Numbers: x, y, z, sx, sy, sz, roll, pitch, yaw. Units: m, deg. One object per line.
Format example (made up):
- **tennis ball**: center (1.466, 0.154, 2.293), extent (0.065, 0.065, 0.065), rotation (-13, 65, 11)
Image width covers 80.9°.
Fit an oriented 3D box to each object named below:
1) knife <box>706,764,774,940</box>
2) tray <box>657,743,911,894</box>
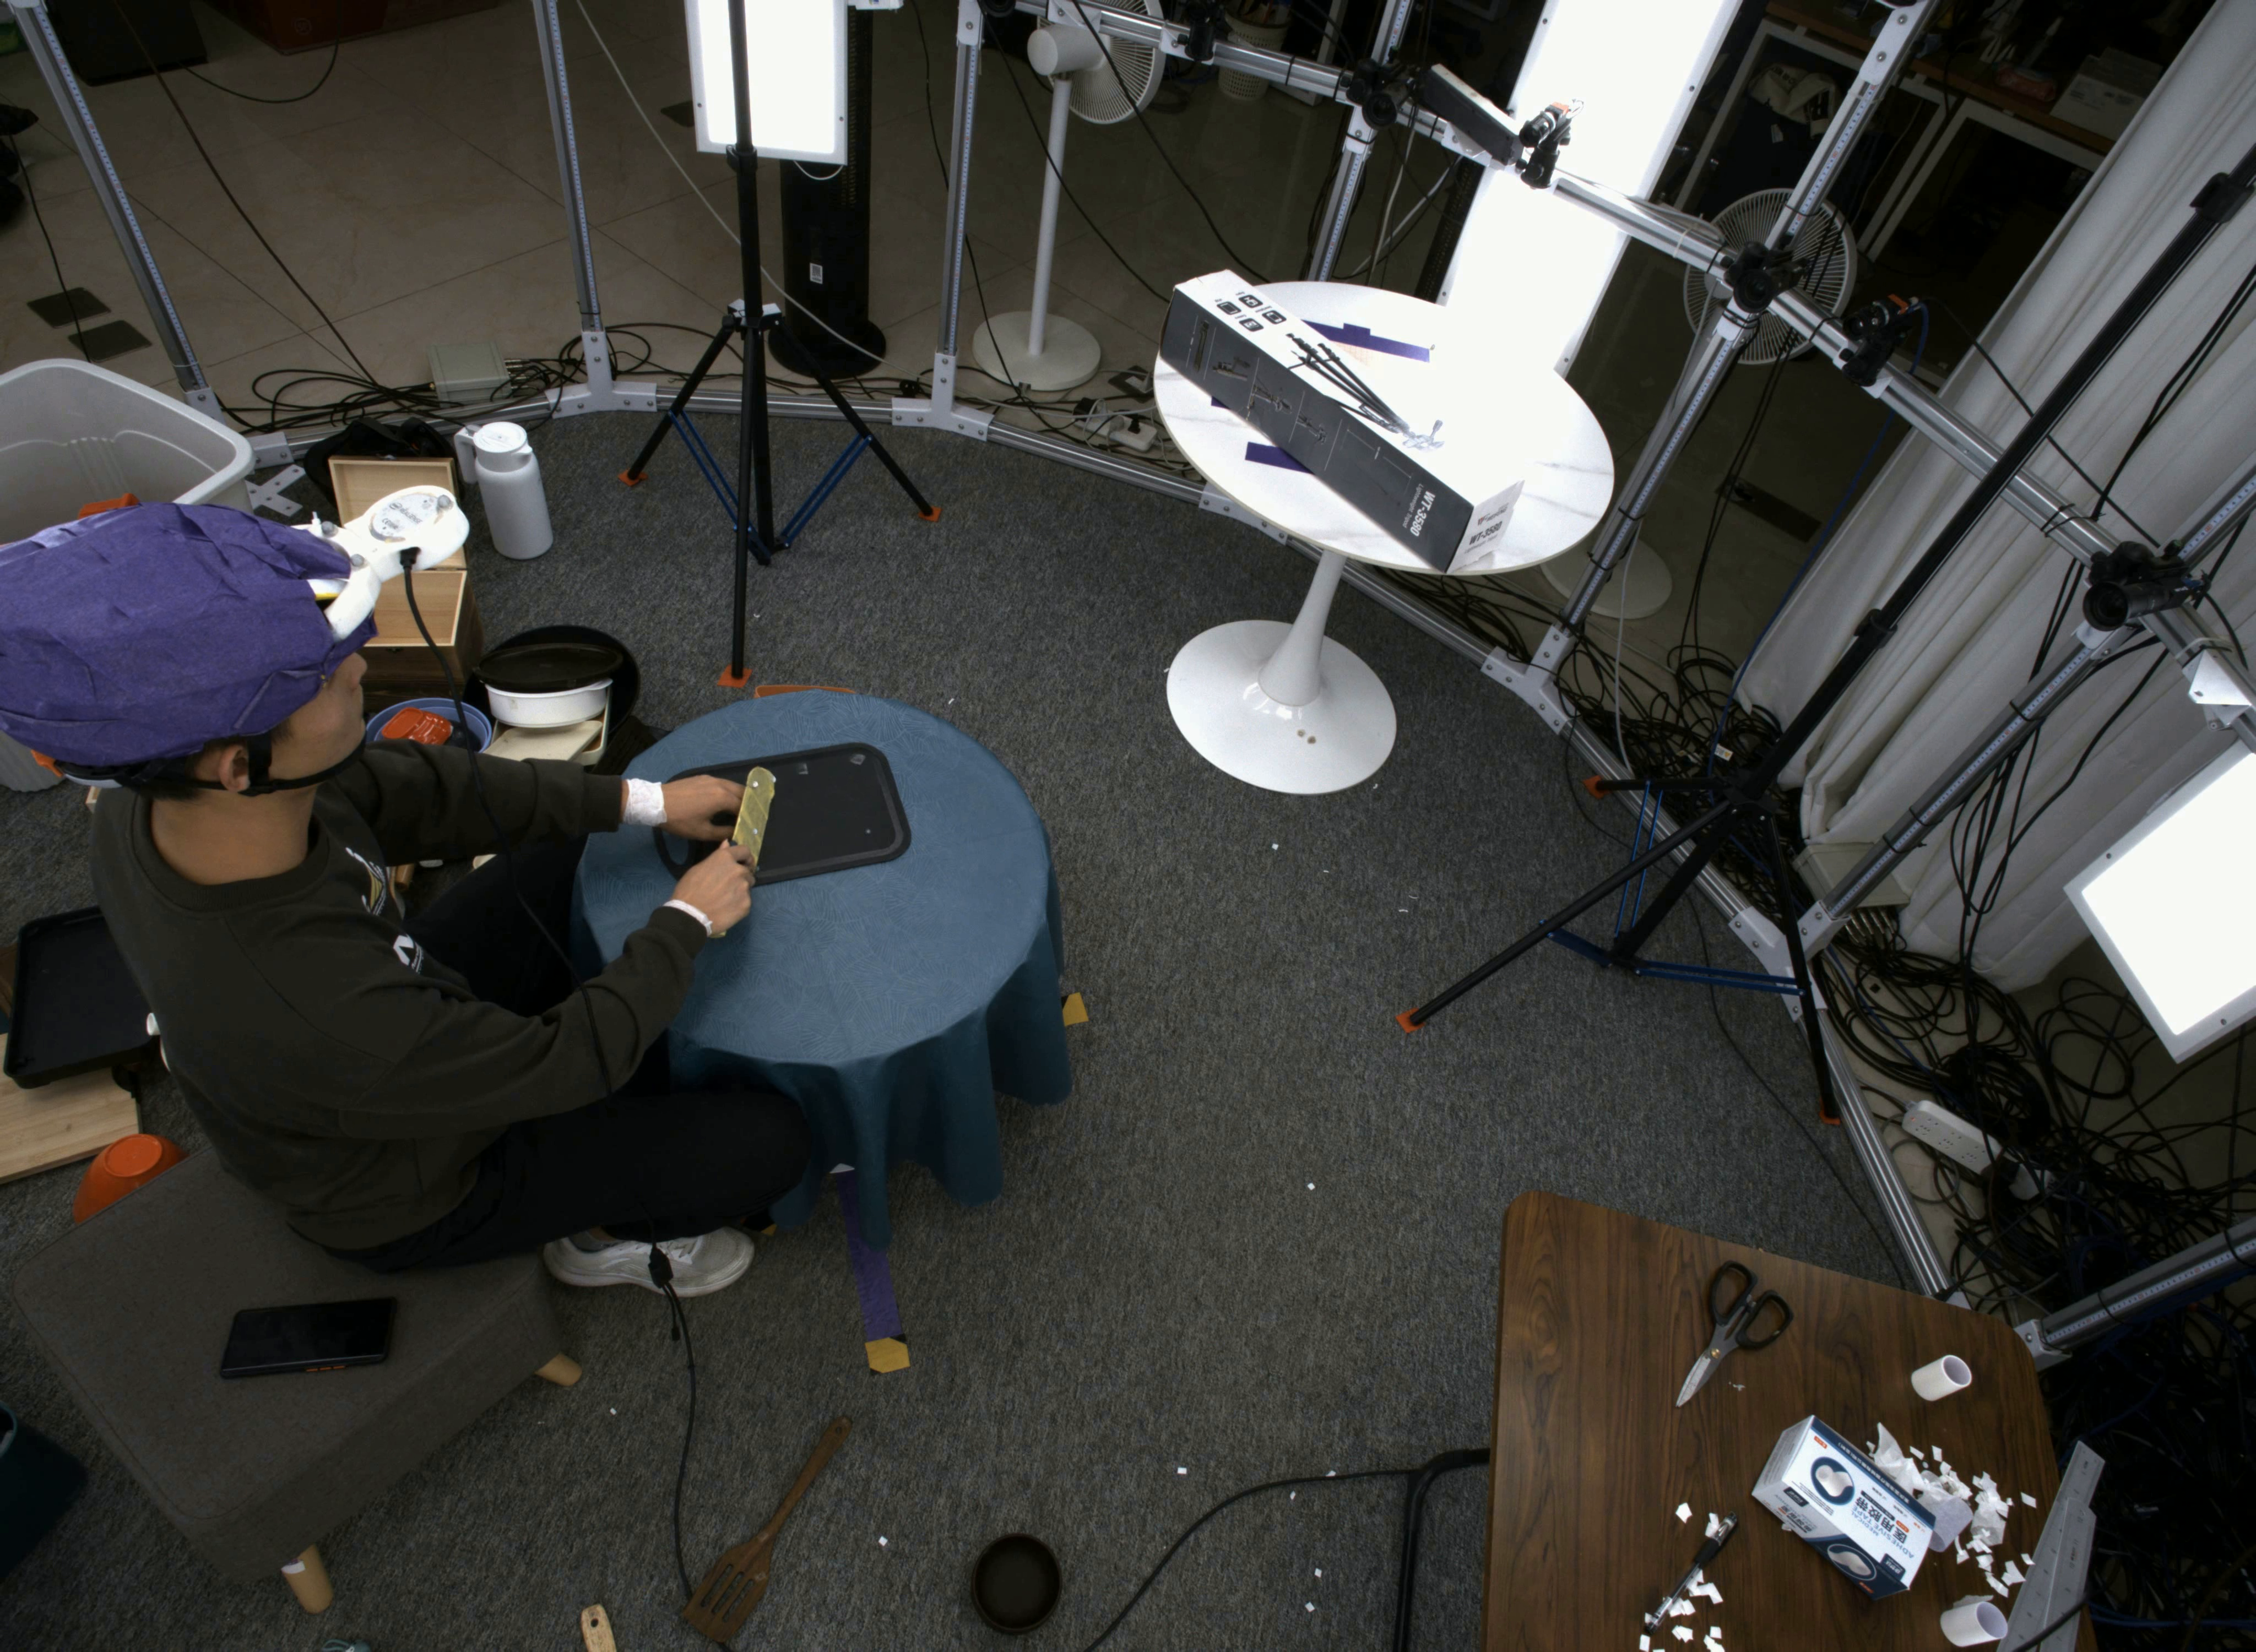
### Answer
- **knife**: center (-0.487, 0.030, 1.643), extent (0.027, 0.084, 0.284), rotation (-5, 49, 11)
- **tray**: center (-0.463, -0.015, 1.731), extent (0.327, 0.010, 0.206), rotation (-11, 58, -22)
